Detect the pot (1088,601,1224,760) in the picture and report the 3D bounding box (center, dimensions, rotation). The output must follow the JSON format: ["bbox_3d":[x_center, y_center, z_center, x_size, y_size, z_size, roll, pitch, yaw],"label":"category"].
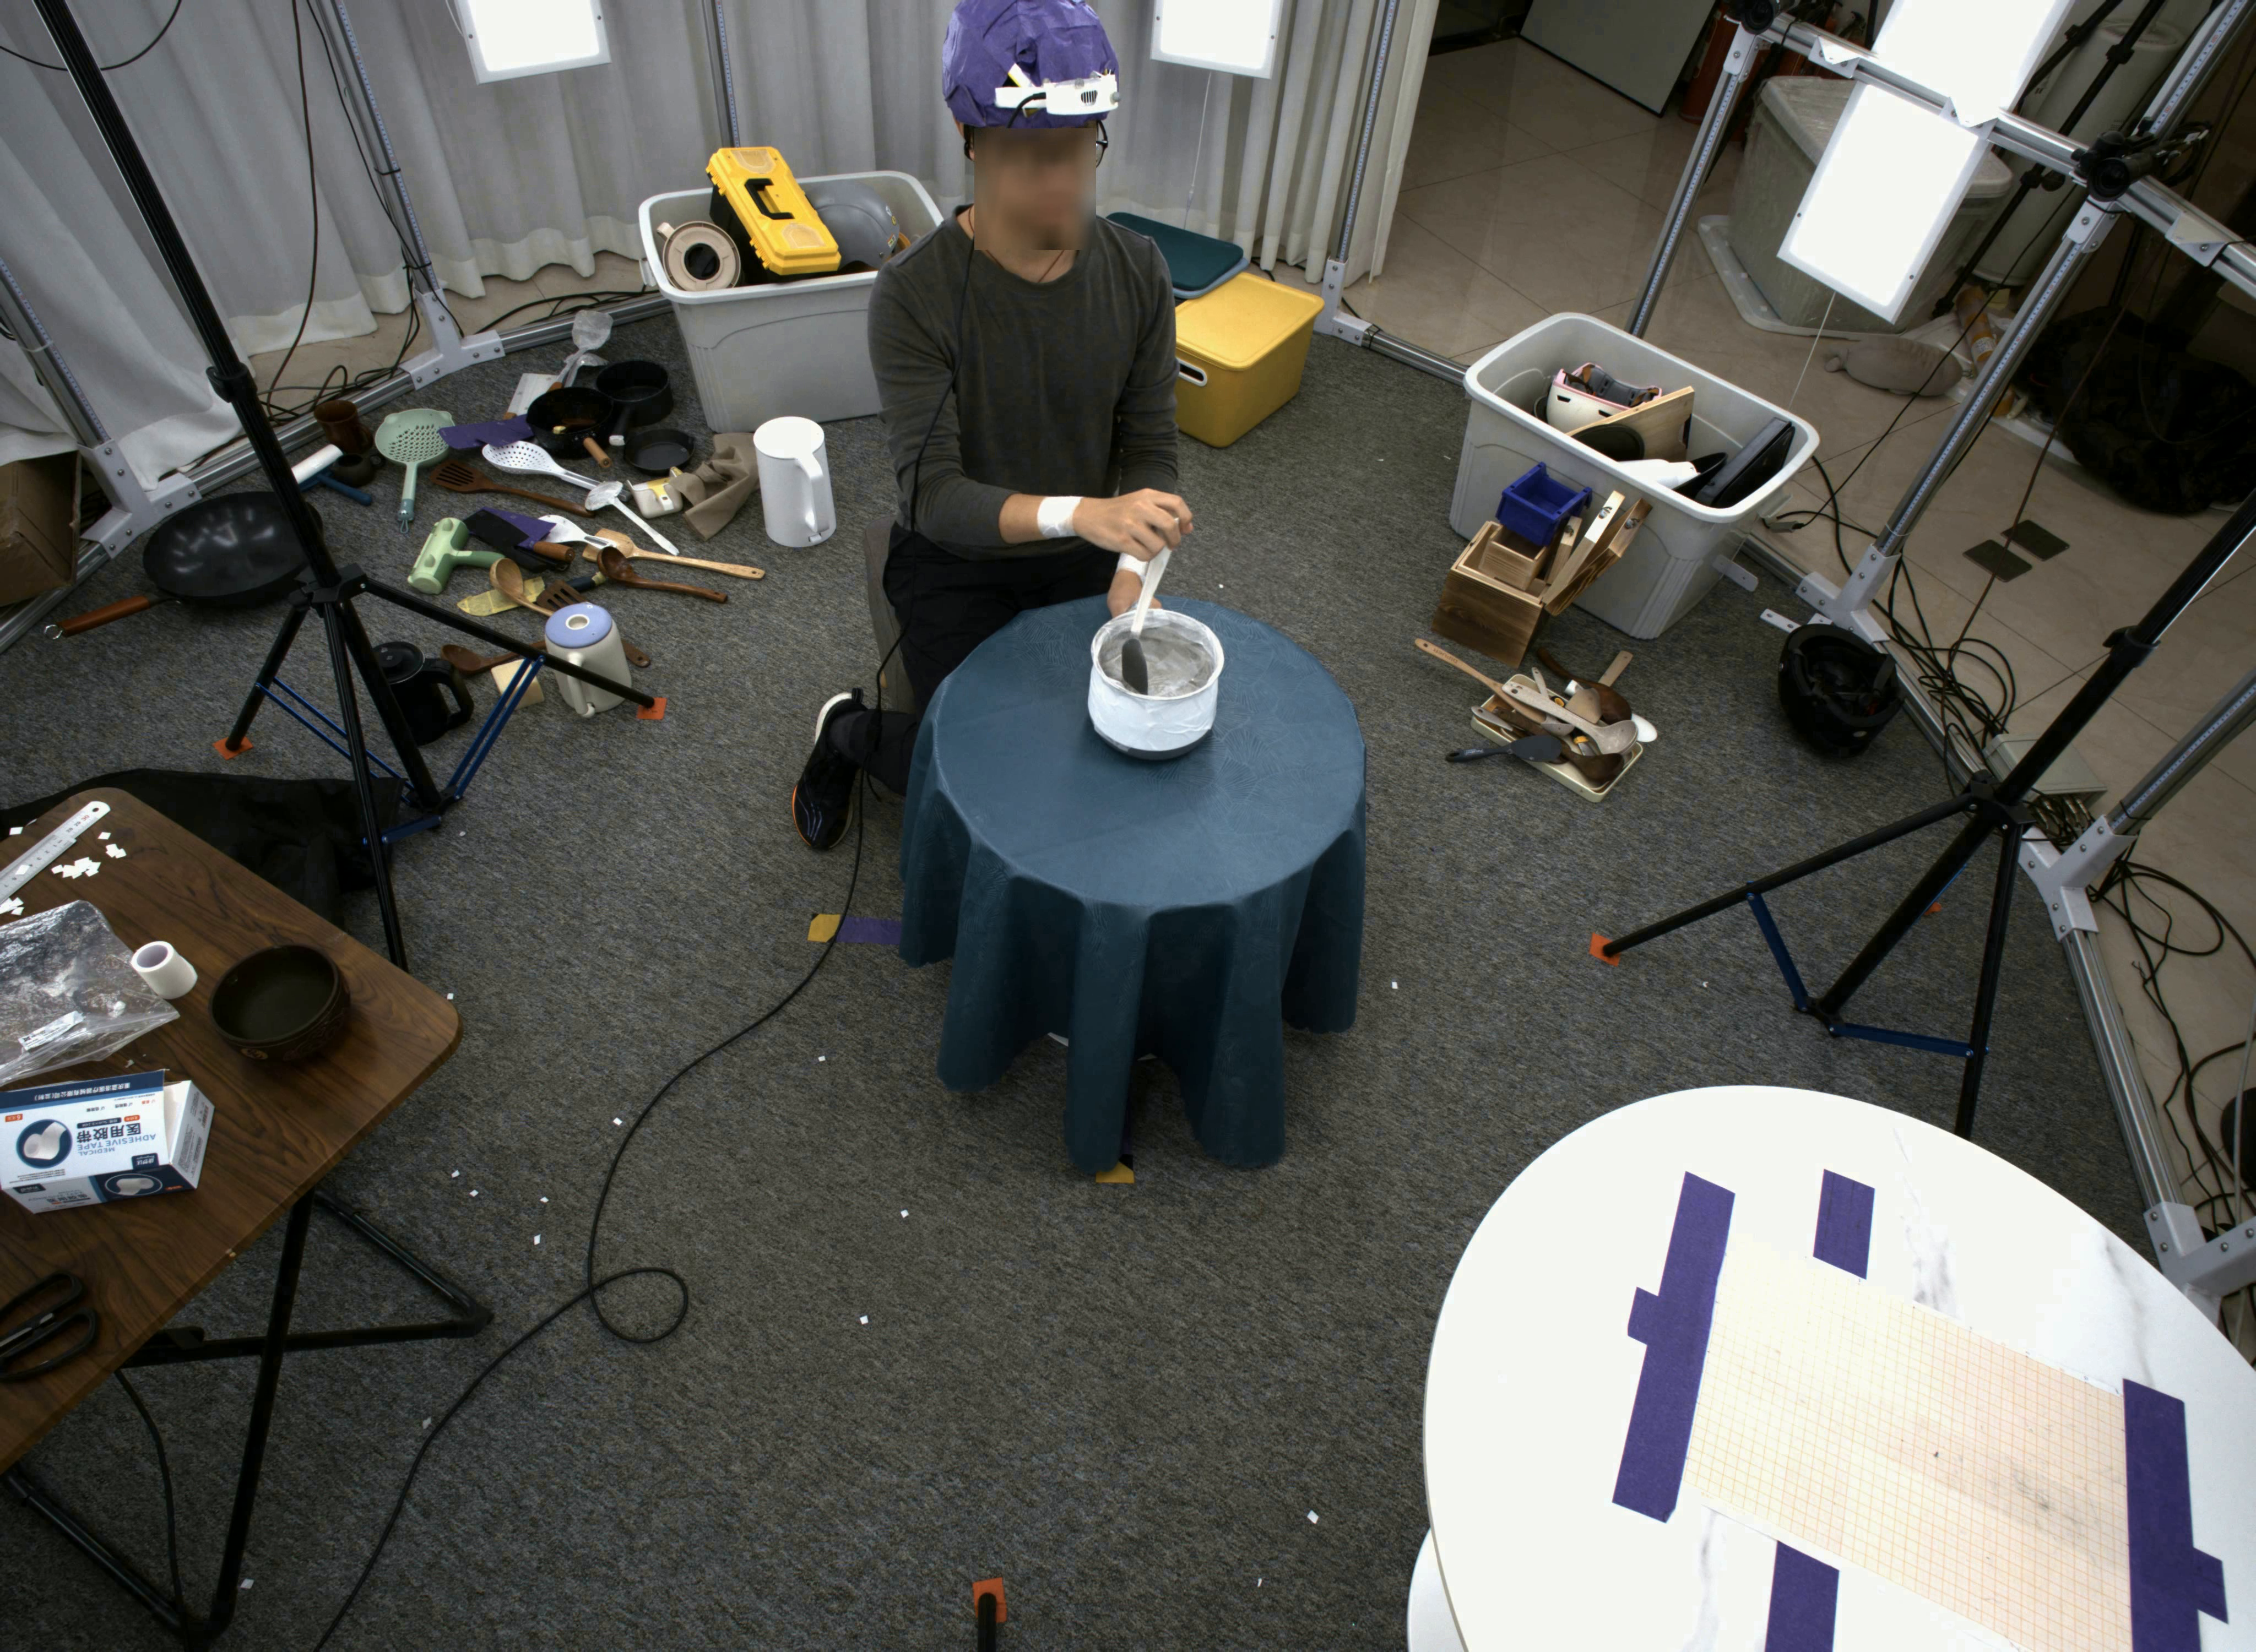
[{"bbox_3d":[0.029,-0.209,1.763,0.178,0.133,0.239,-7,50,-11],"label":"pot"}]

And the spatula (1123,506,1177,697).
[{"bbox_3d":[0.025,-0.283,1.671,0.032,0.281,0.059,-27,55,-34],"label":"spatula"}]
